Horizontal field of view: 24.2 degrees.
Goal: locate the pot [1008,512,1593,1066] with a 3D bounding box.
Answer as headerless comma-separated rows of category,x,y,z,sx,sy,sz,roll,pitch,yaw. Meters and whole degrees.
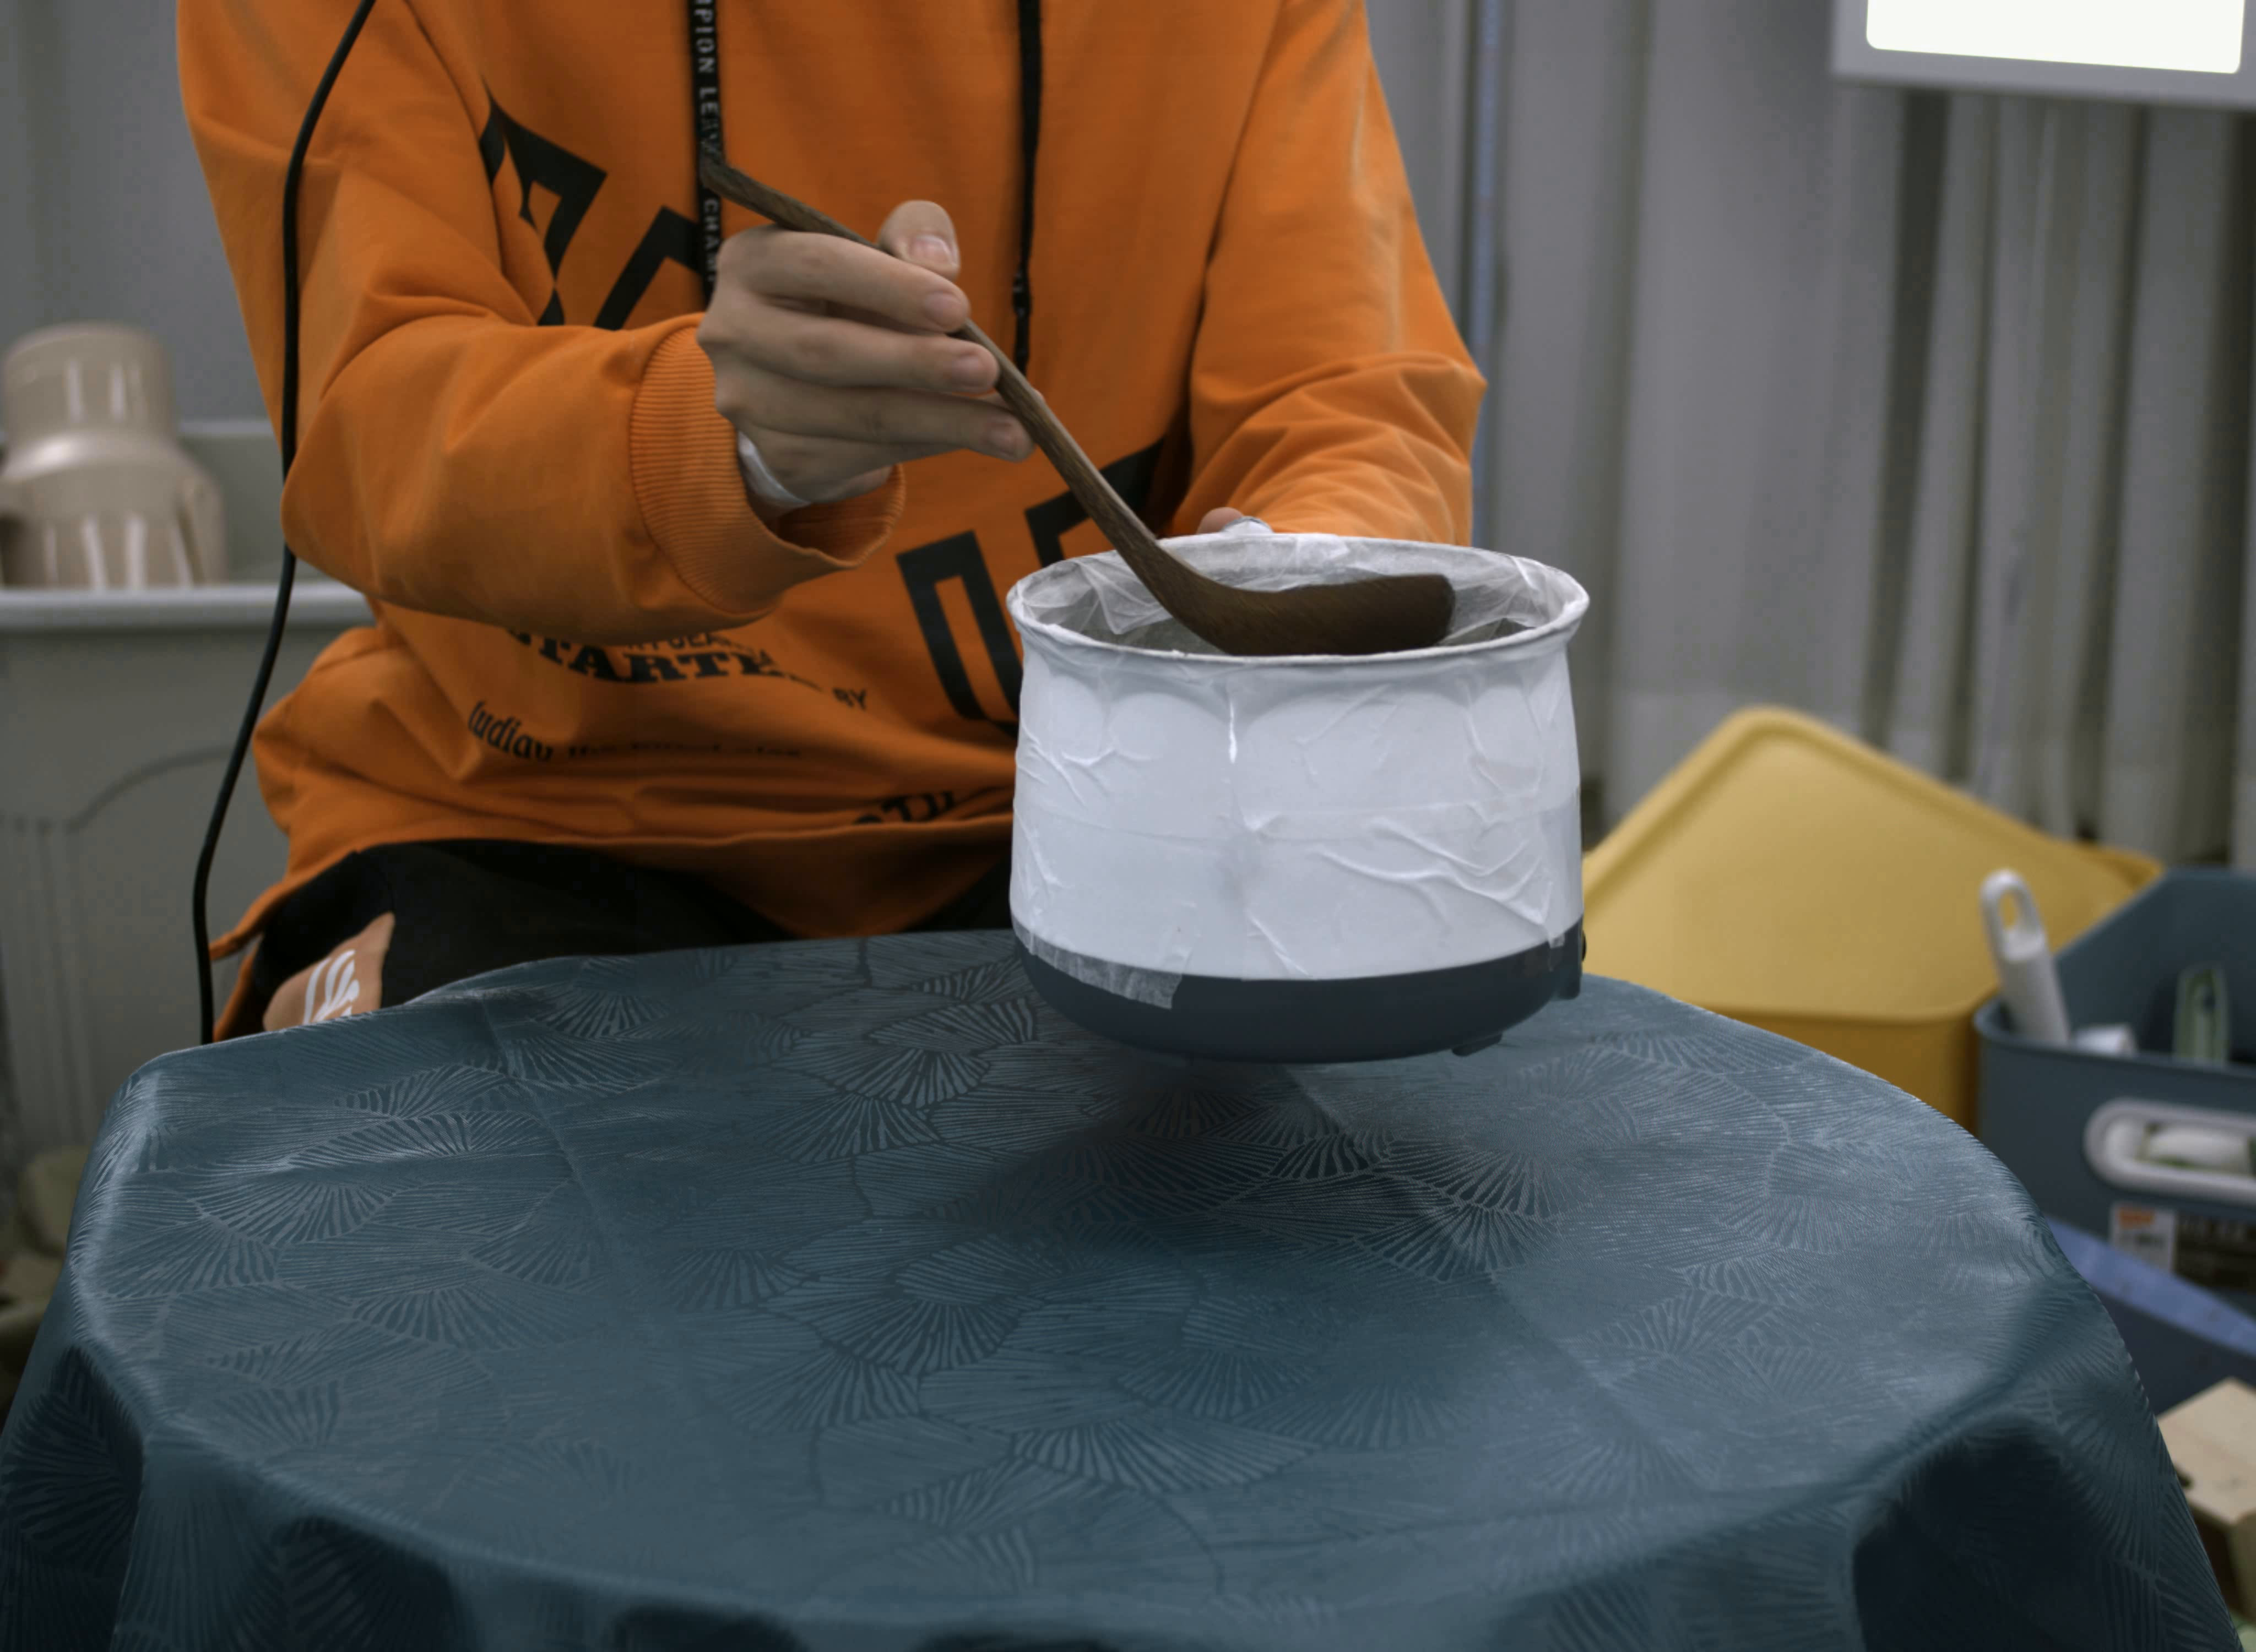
pot,0.047,-0.016,1.631,0.178,0.138,0.232,-2,15,-9

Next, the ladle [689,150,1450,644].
ladle,-0.017,-0.141,1.620,0.272,0.071,0.076,44,2,11
